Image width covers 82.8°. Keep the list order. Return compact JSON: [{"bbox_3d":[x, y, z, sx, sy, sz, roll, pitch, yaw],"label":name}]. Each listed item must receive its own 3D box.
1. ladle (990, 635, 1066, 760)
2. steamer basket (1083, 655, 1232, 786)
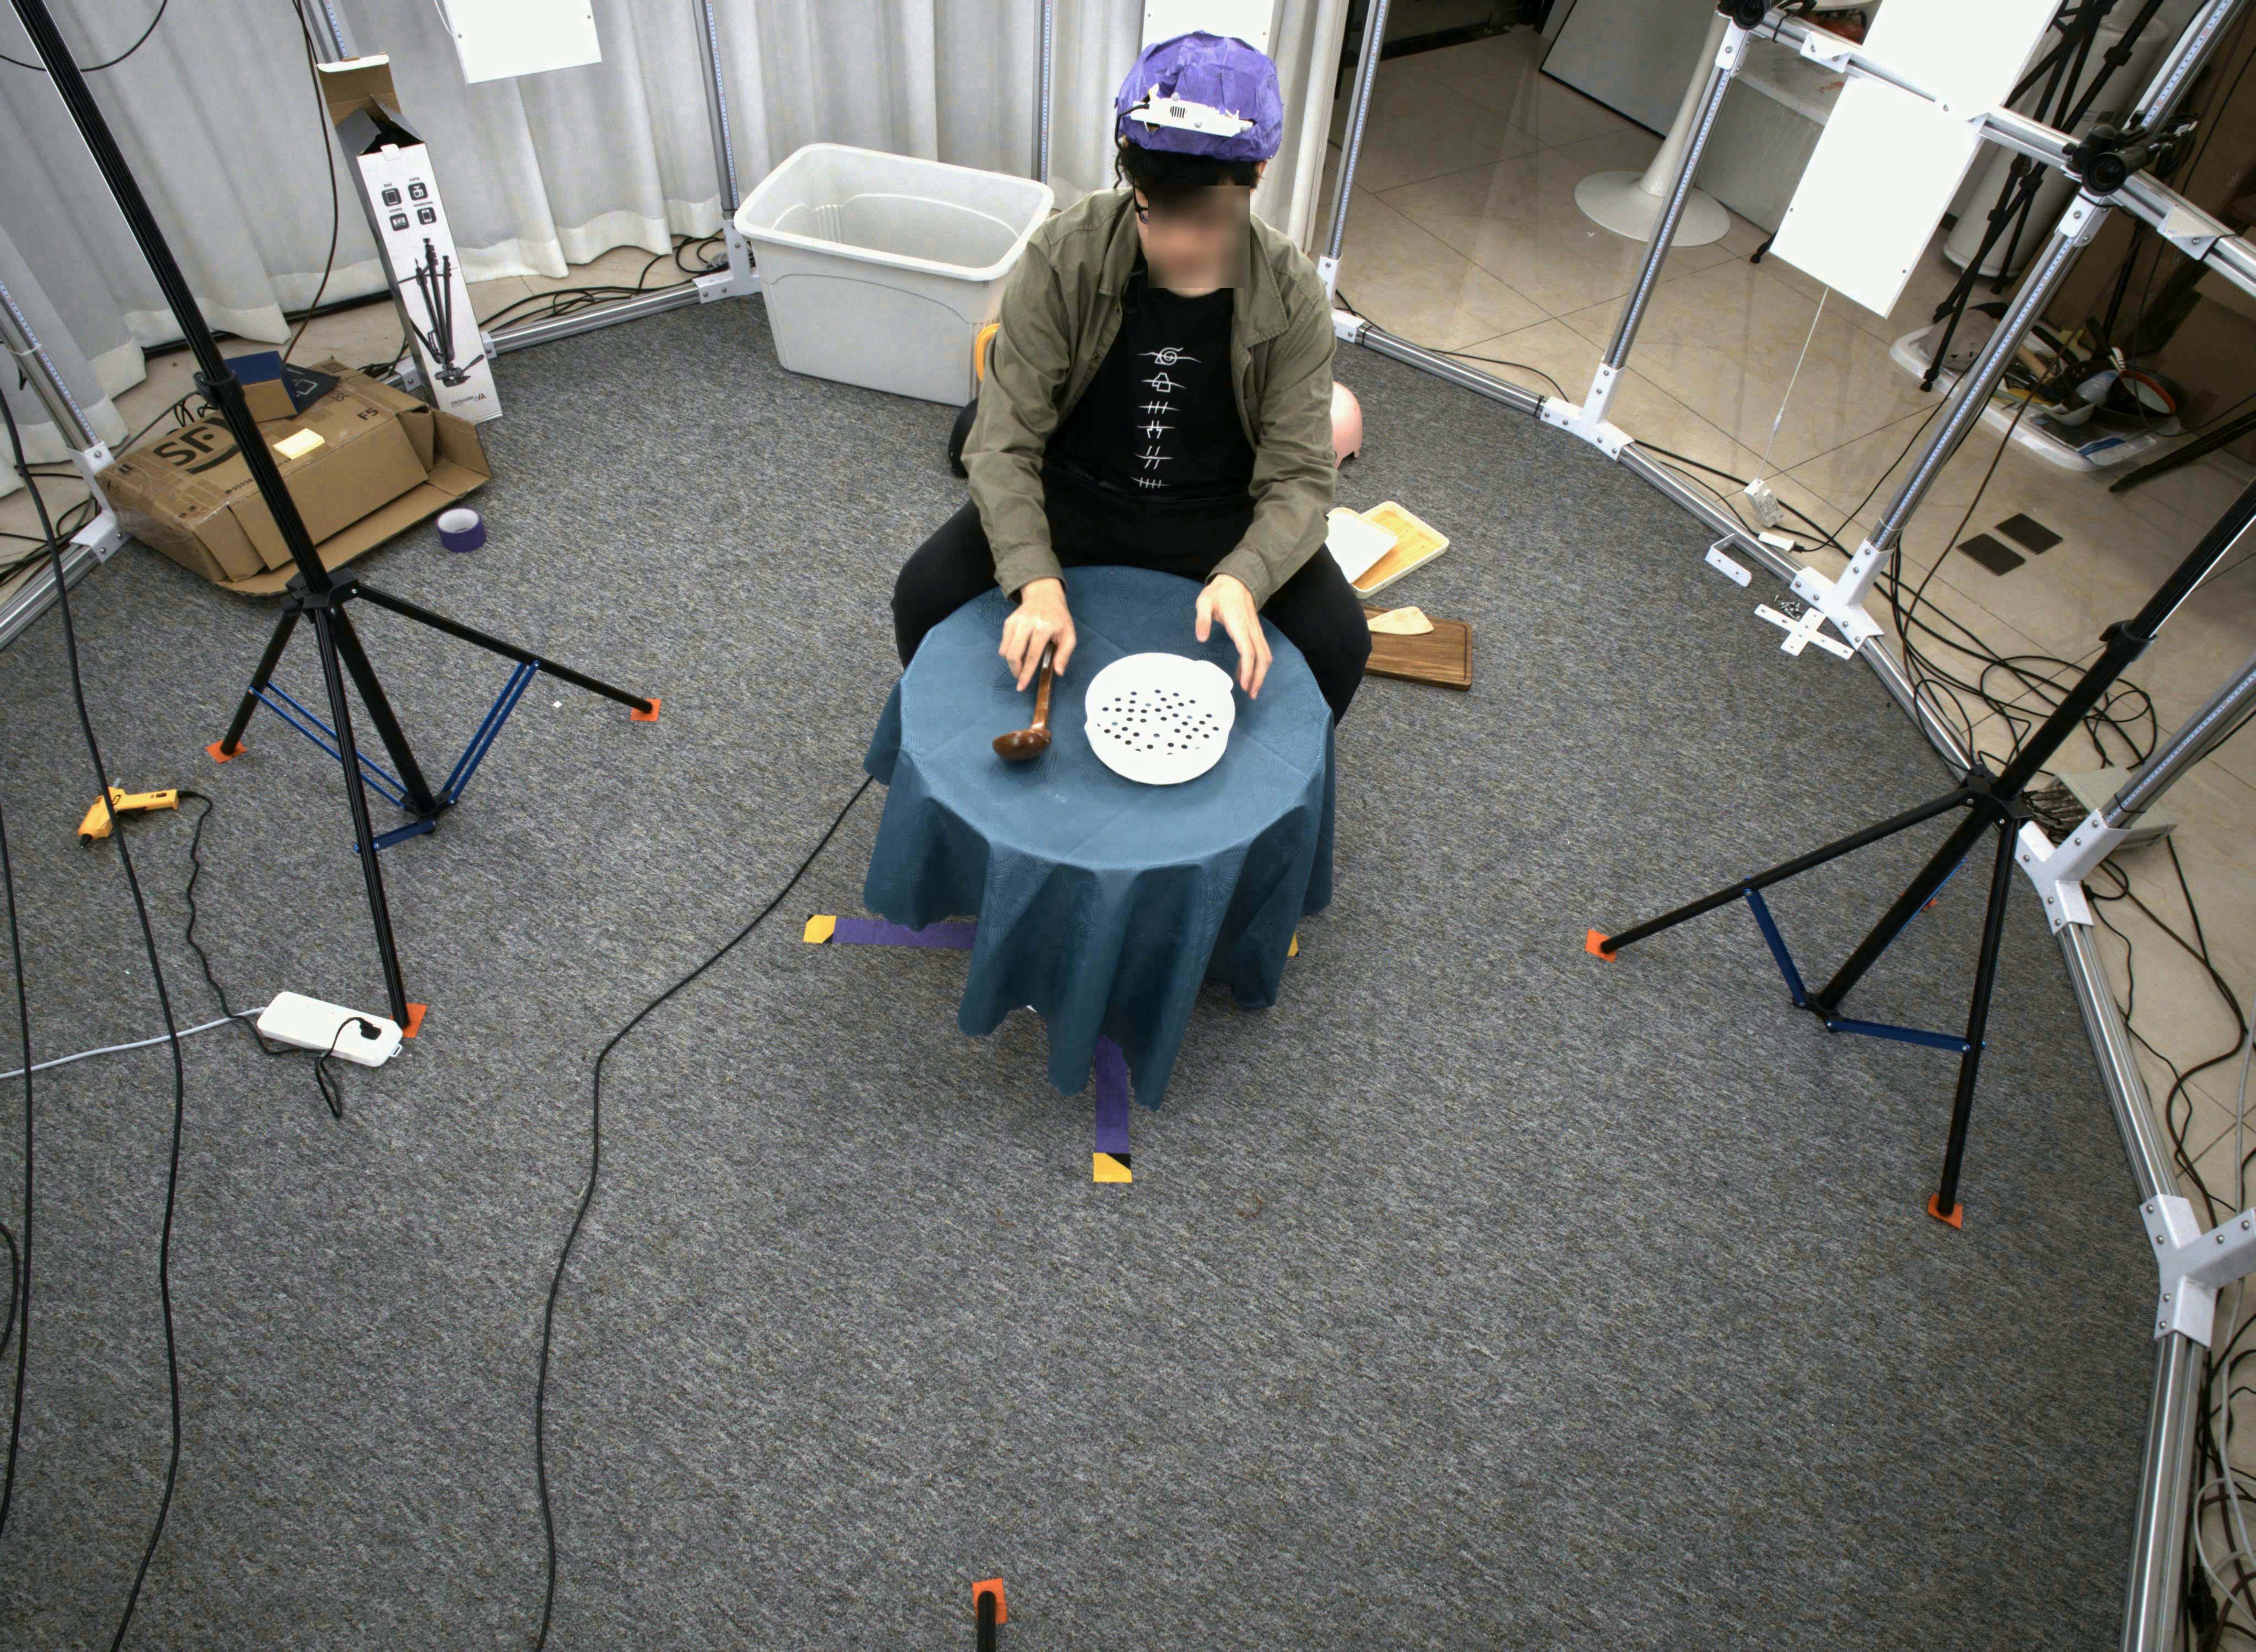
[{"bbox_3d":[-0.130,-0.193,1.770,0.082,0.075,0.281,-11,45,20],"label":"ladle"},{"bbox_3d":[0.038,-0.143,1.743,0.232,0.067,0.205,-30,58,-29],"label":"steamer basket"}]
